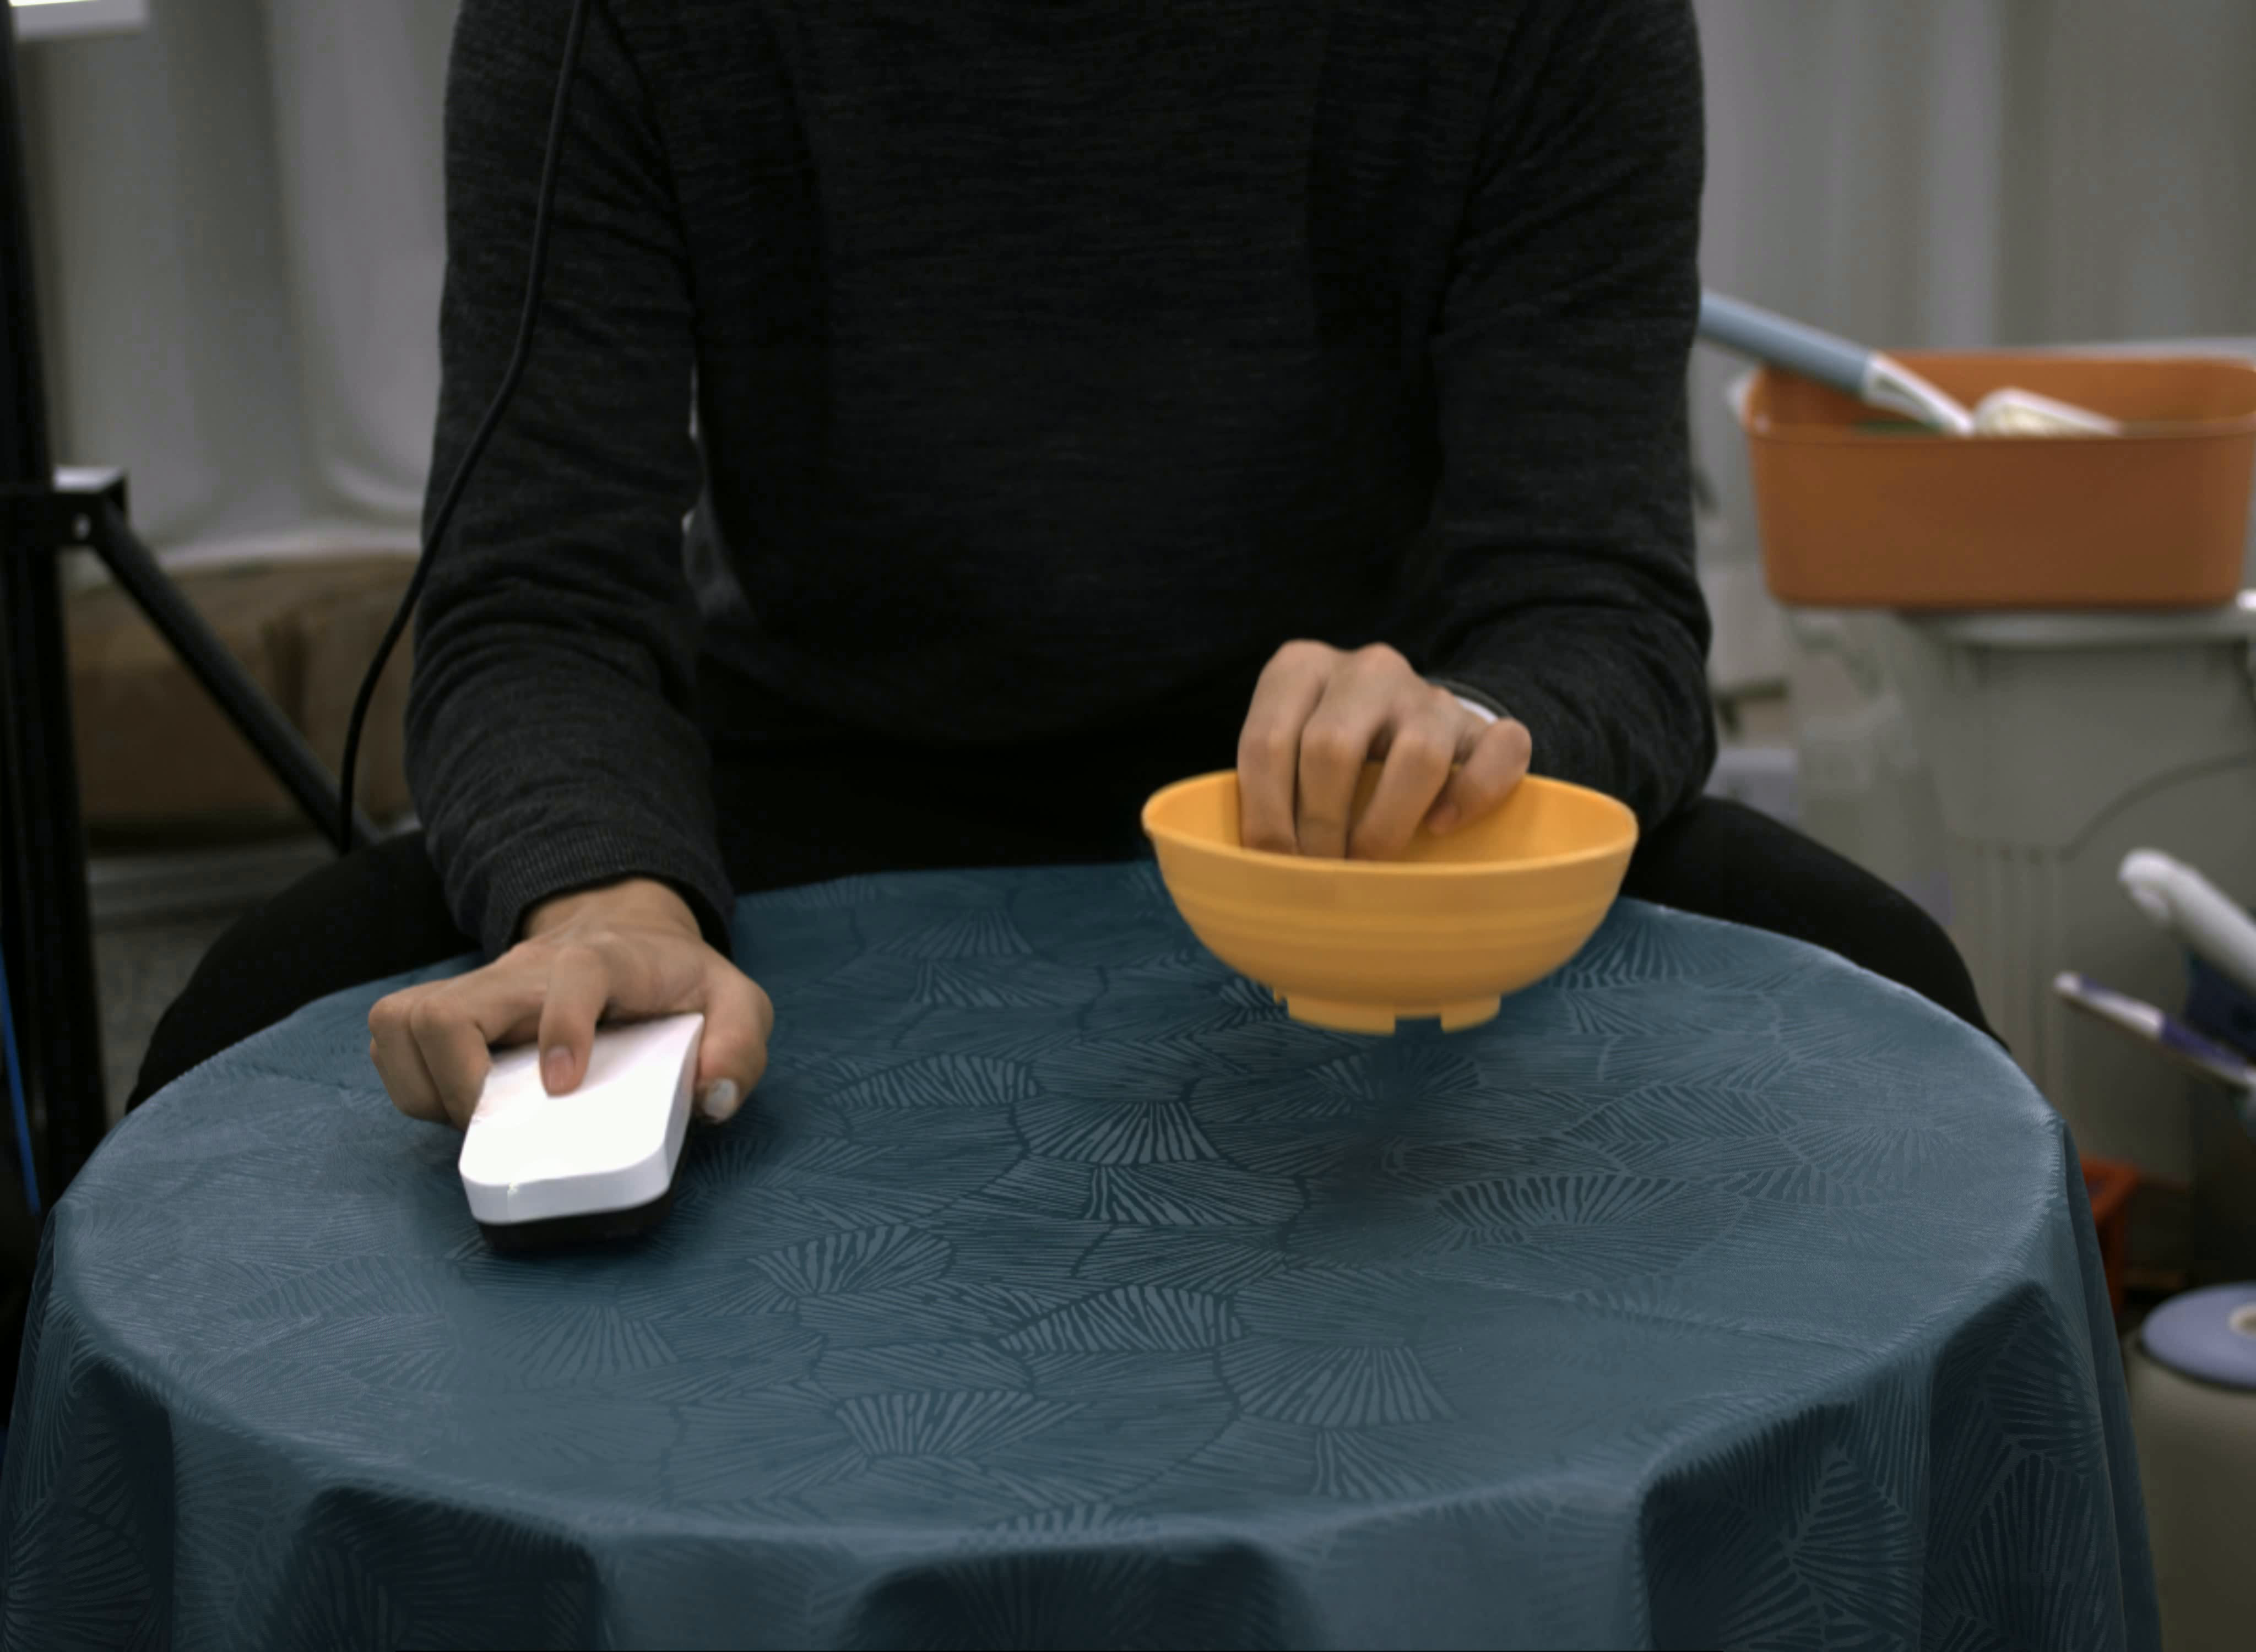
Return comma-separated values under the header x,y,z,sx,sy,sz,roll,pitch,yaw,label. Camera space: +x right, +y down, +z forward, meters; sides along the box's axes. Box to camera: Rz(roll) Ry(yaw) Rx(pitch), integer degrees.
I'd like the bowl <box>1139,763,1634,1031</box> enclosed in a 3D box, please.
x,y,z,sx,sy,sz,roll,pitch,yaw,label
0.073,0.024,1.549,0.144,0.060,0.146,3,10,-2,bowl

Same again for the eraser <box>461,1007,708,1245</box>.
x,y,z,sx,sy,sz,roll,pitch,yaw,label
-0.158,0.084,1.579,0.063,0.034,0.131,-7,18,5,eraser
